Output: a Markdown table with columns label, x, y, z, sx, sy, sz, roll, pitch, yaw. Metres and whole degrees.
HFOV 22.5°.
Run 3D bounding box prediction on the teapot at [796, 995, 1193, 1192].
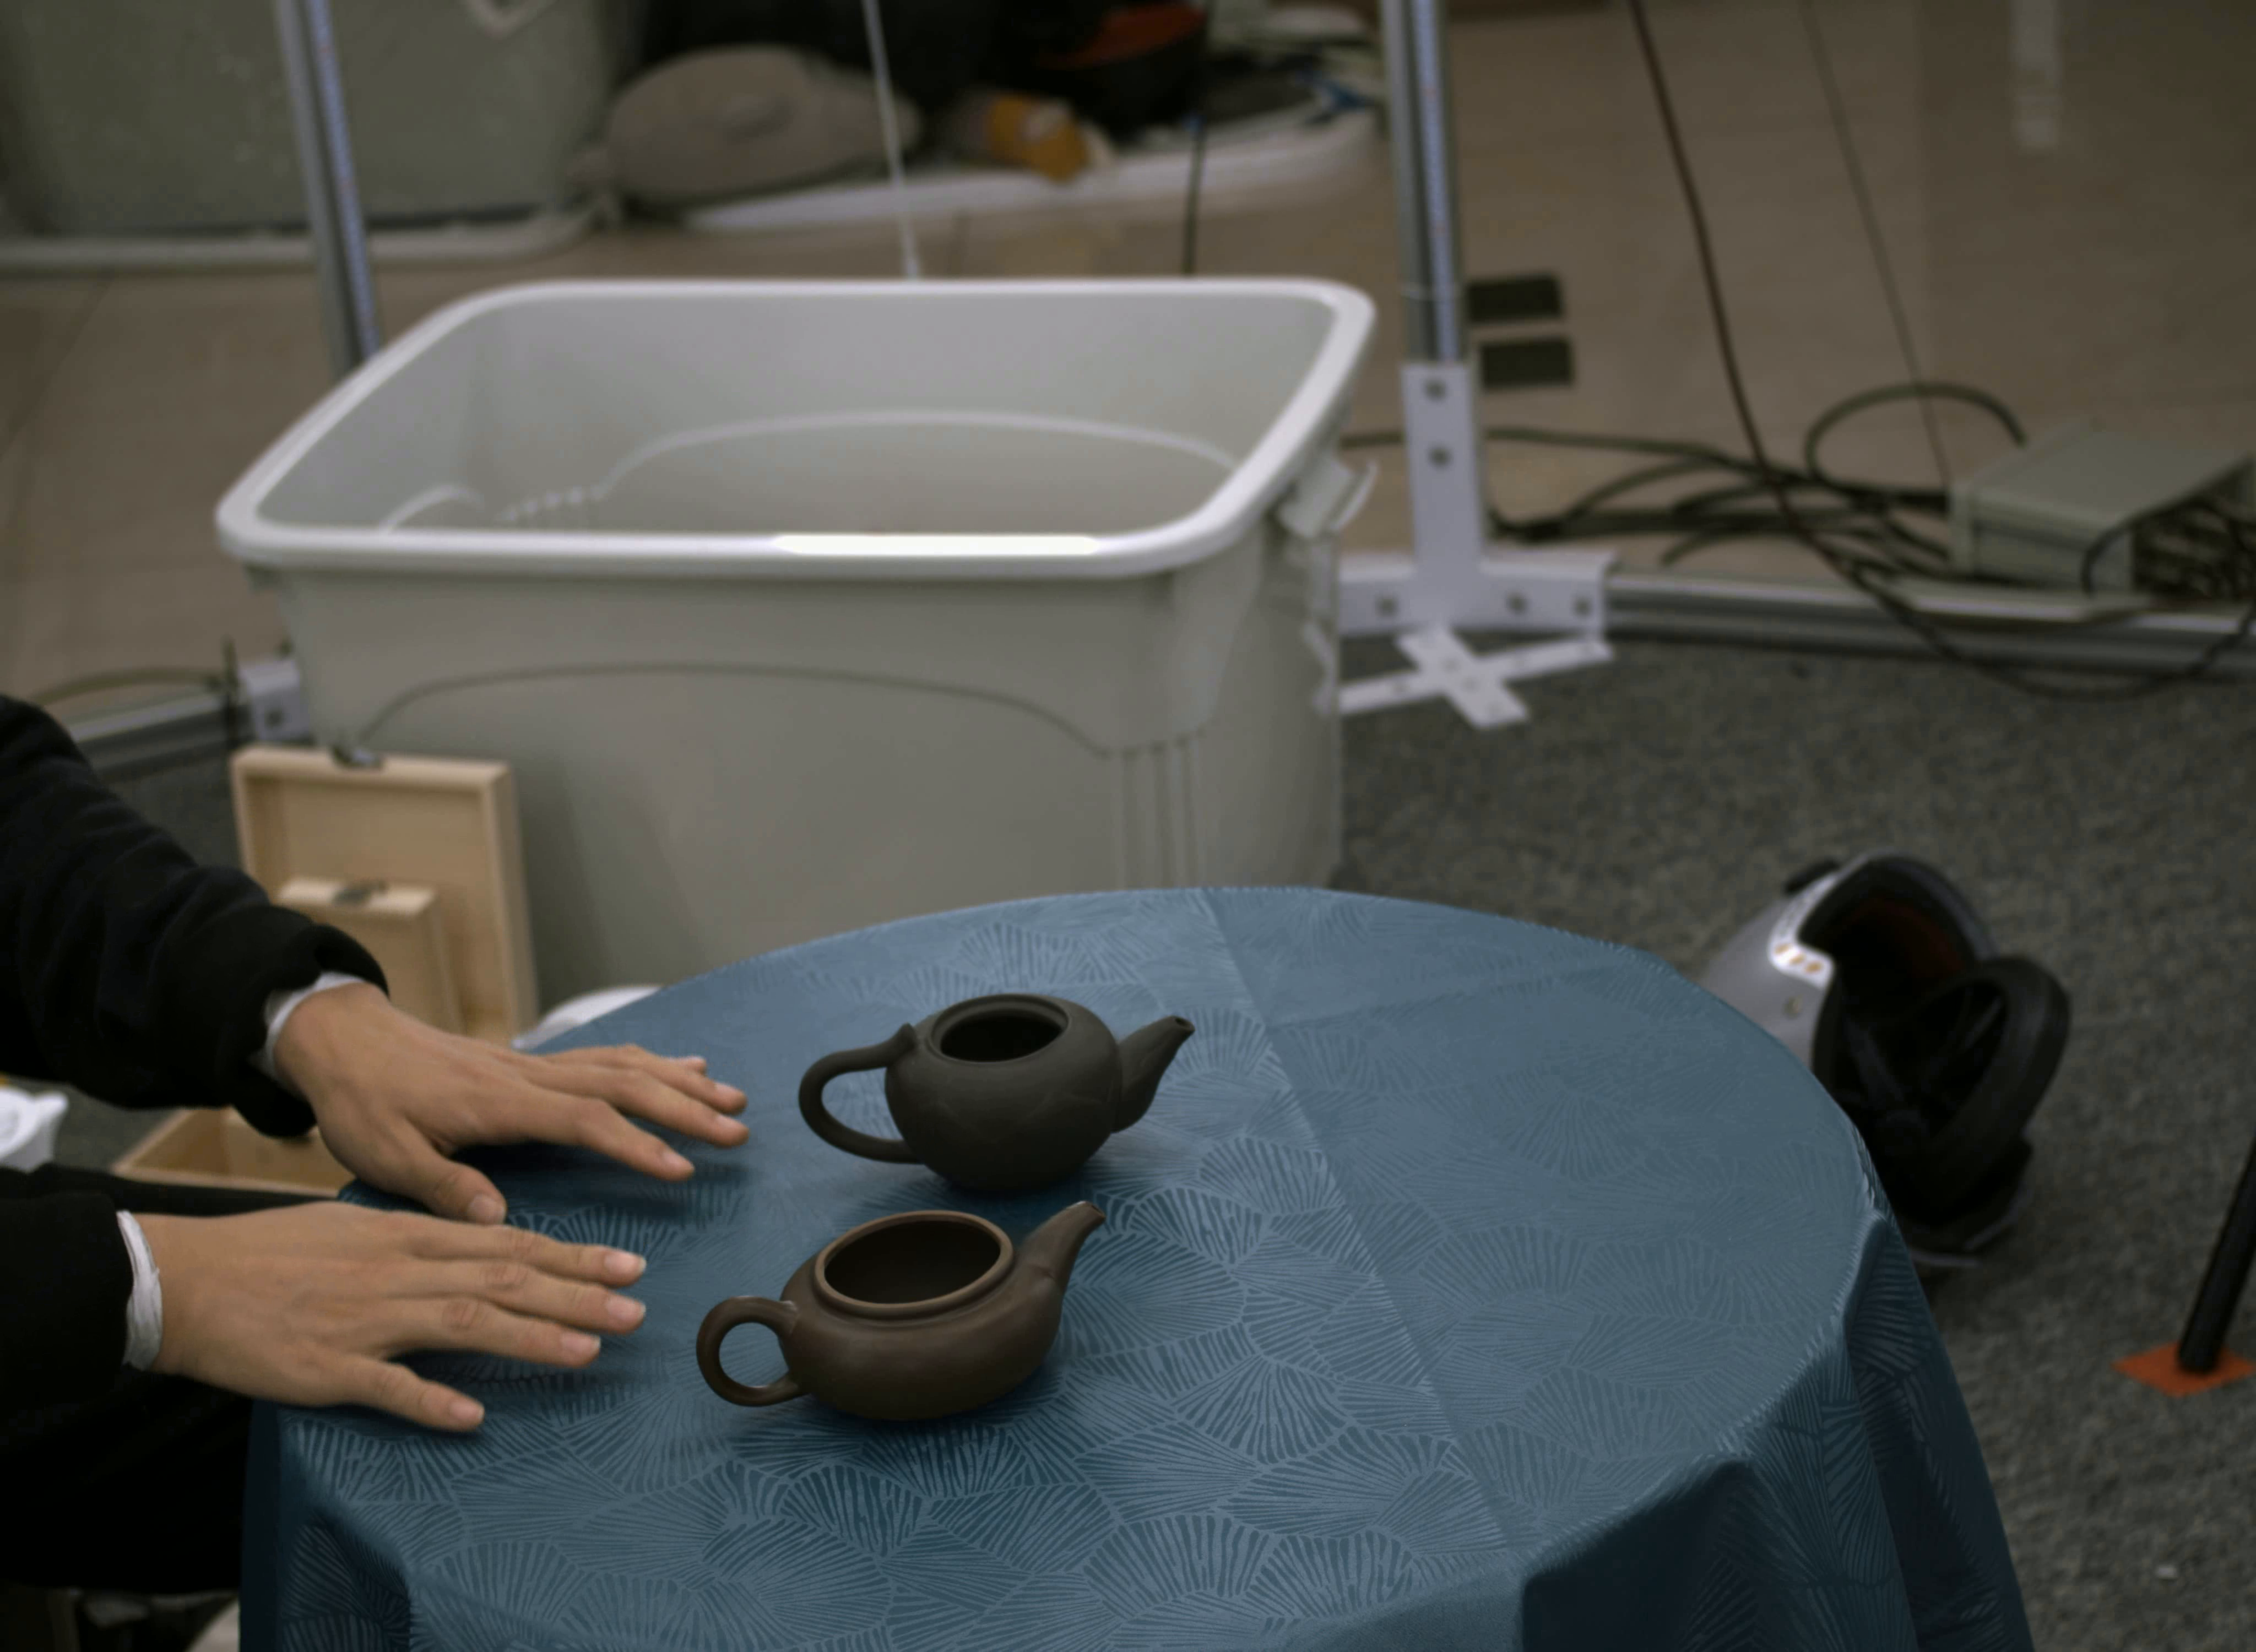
| label | x | y | z | sx | sy | sz | roll | pitch | yaw |
| --- | --- | --- | --- | --- | --- | --- | --- | --- | --- |
| teapot | -0.050 | 0.101 | 2.167 | 0.154 | 0.065 | 0.091 | -5 | 24 | 1 |

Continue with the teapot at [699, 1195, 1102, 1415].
| label | x | y | z | sx | sy | sz | roll | pitch | yaw |
| --- | --- | --- | --- | --- | --- | --- | --- | --- | --- |
| teapot | -0.079 | 0.173 | 2.029 | 0.153 | 0.054 | 0.101 | -15 | 23 | -18 |
